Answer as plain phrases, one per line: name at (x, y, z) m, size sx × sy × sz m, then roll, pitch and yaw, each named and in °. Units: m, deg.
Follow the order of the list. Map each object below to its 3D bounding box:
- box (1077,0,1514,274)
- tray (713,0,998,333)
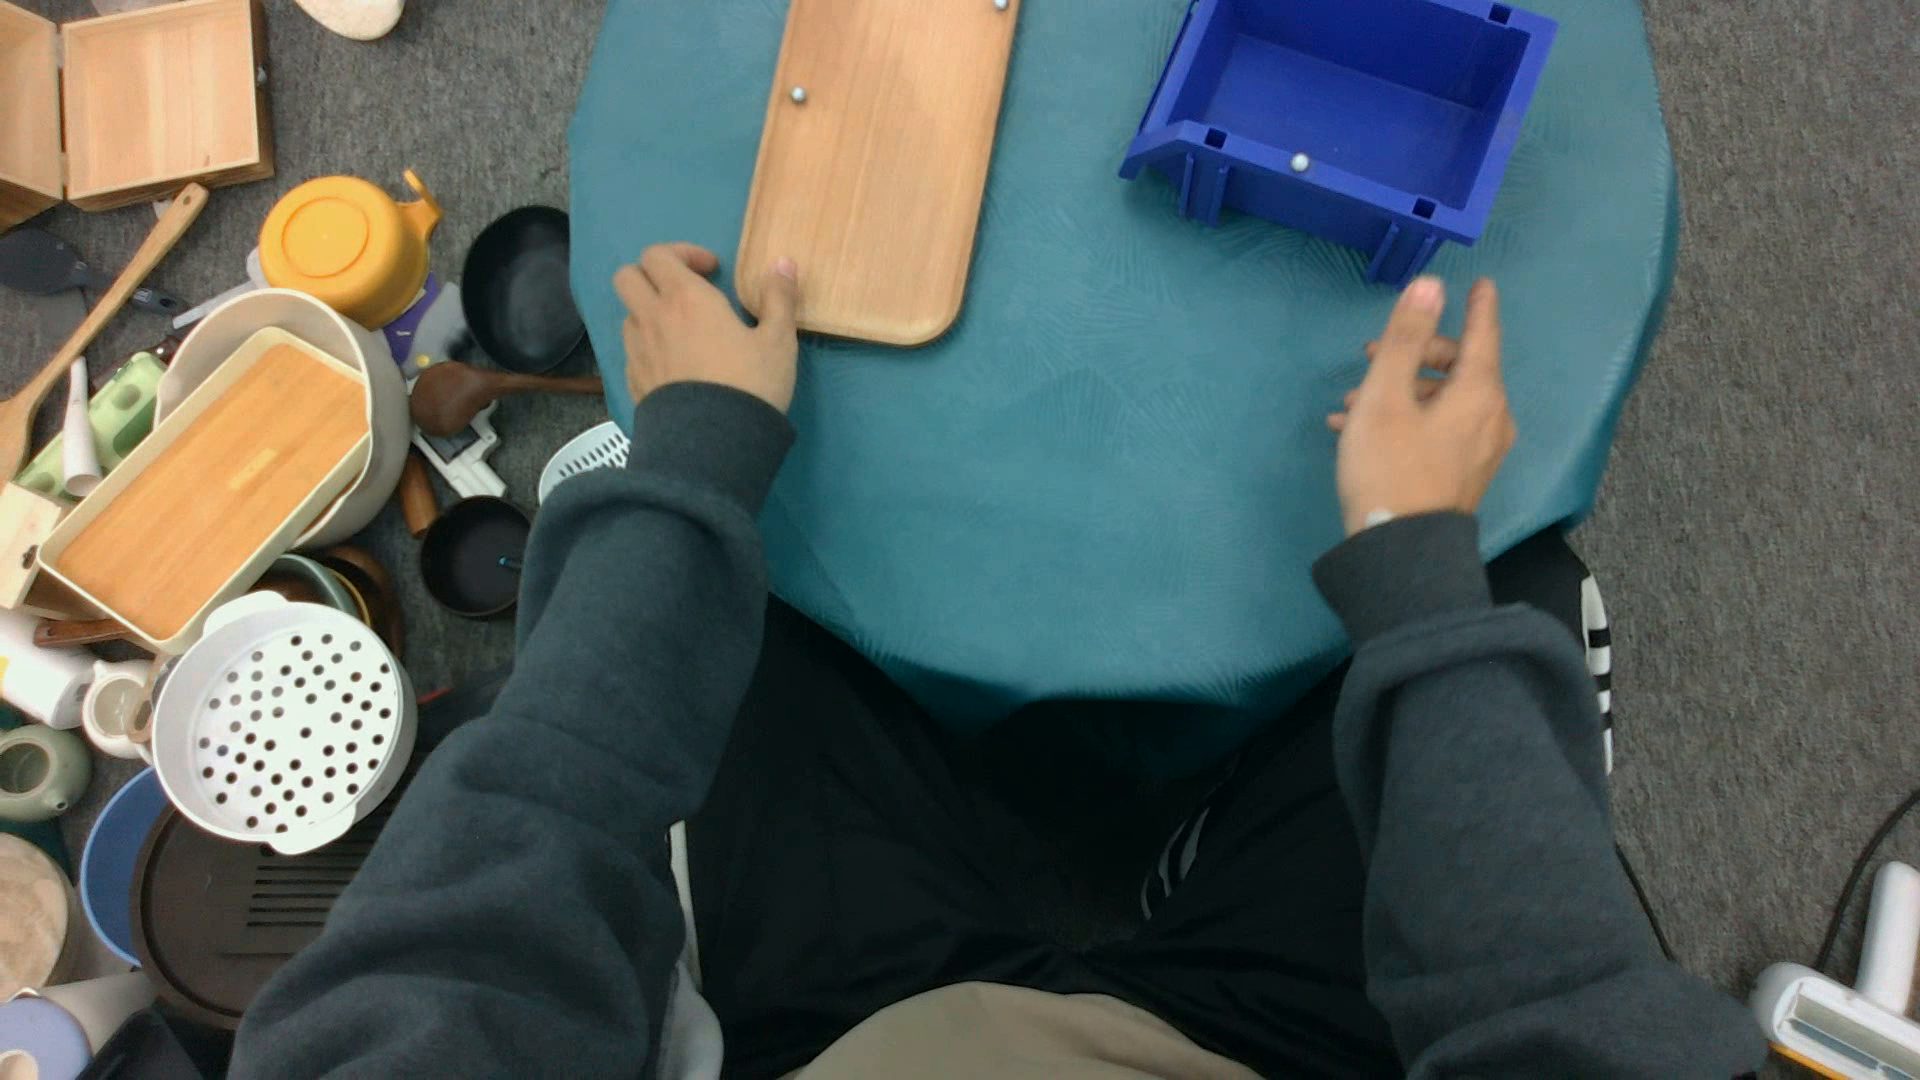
box at (0.166, -0.231, 0.712) m, size 0.179 × 0.082 × 0.124 m, roll 24°, pitch 82°, yaw 5°
tray at (-0.054, -0.237, 0.762) m, size 0.130 × 0.023 × 0.251 m, roll 9°, pitch 80°, yaw 9°
